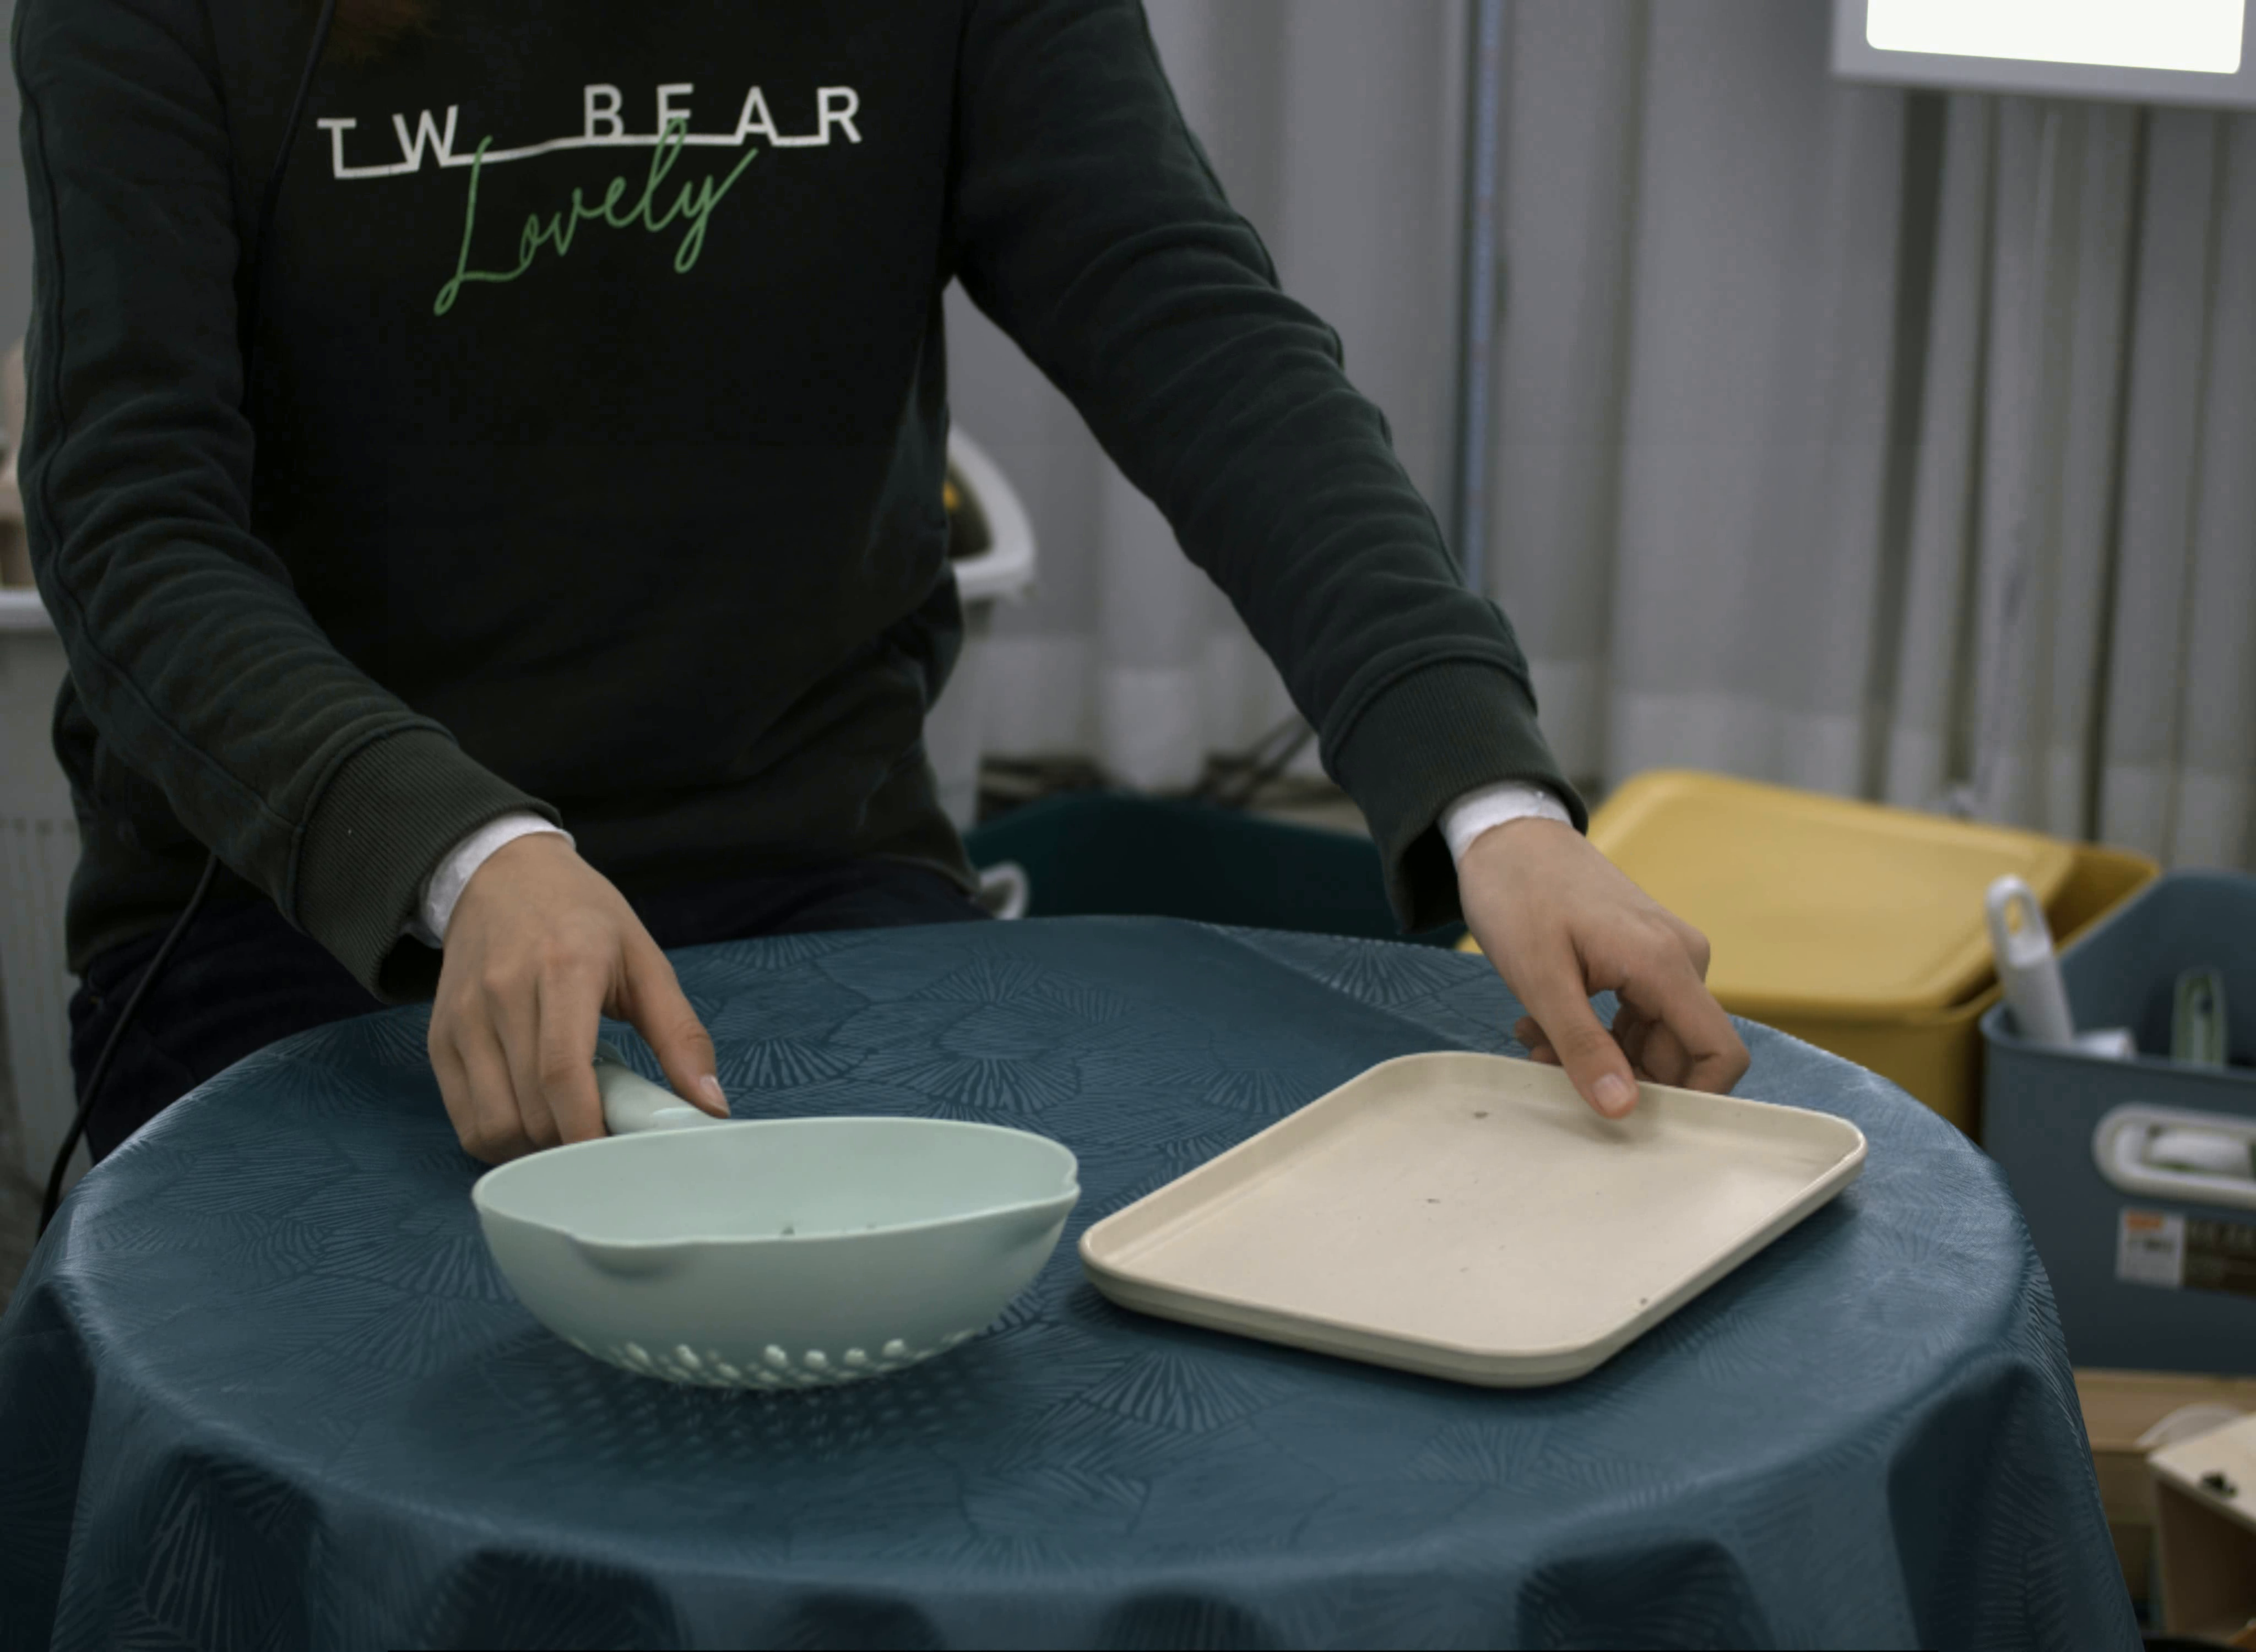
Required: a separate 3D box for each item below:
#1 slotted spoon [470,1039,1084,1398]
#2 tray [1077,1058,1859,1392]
[{"bbox_3d":[-0.129,0.099,1.553,0.170,0.076,0.355,-4,16,-19],"label":"slotted spoon"},{"bbox_3d":[0.105,0.118,1.583,0.169,0.017,0.240,10,17,28],"label":"tray"}]
